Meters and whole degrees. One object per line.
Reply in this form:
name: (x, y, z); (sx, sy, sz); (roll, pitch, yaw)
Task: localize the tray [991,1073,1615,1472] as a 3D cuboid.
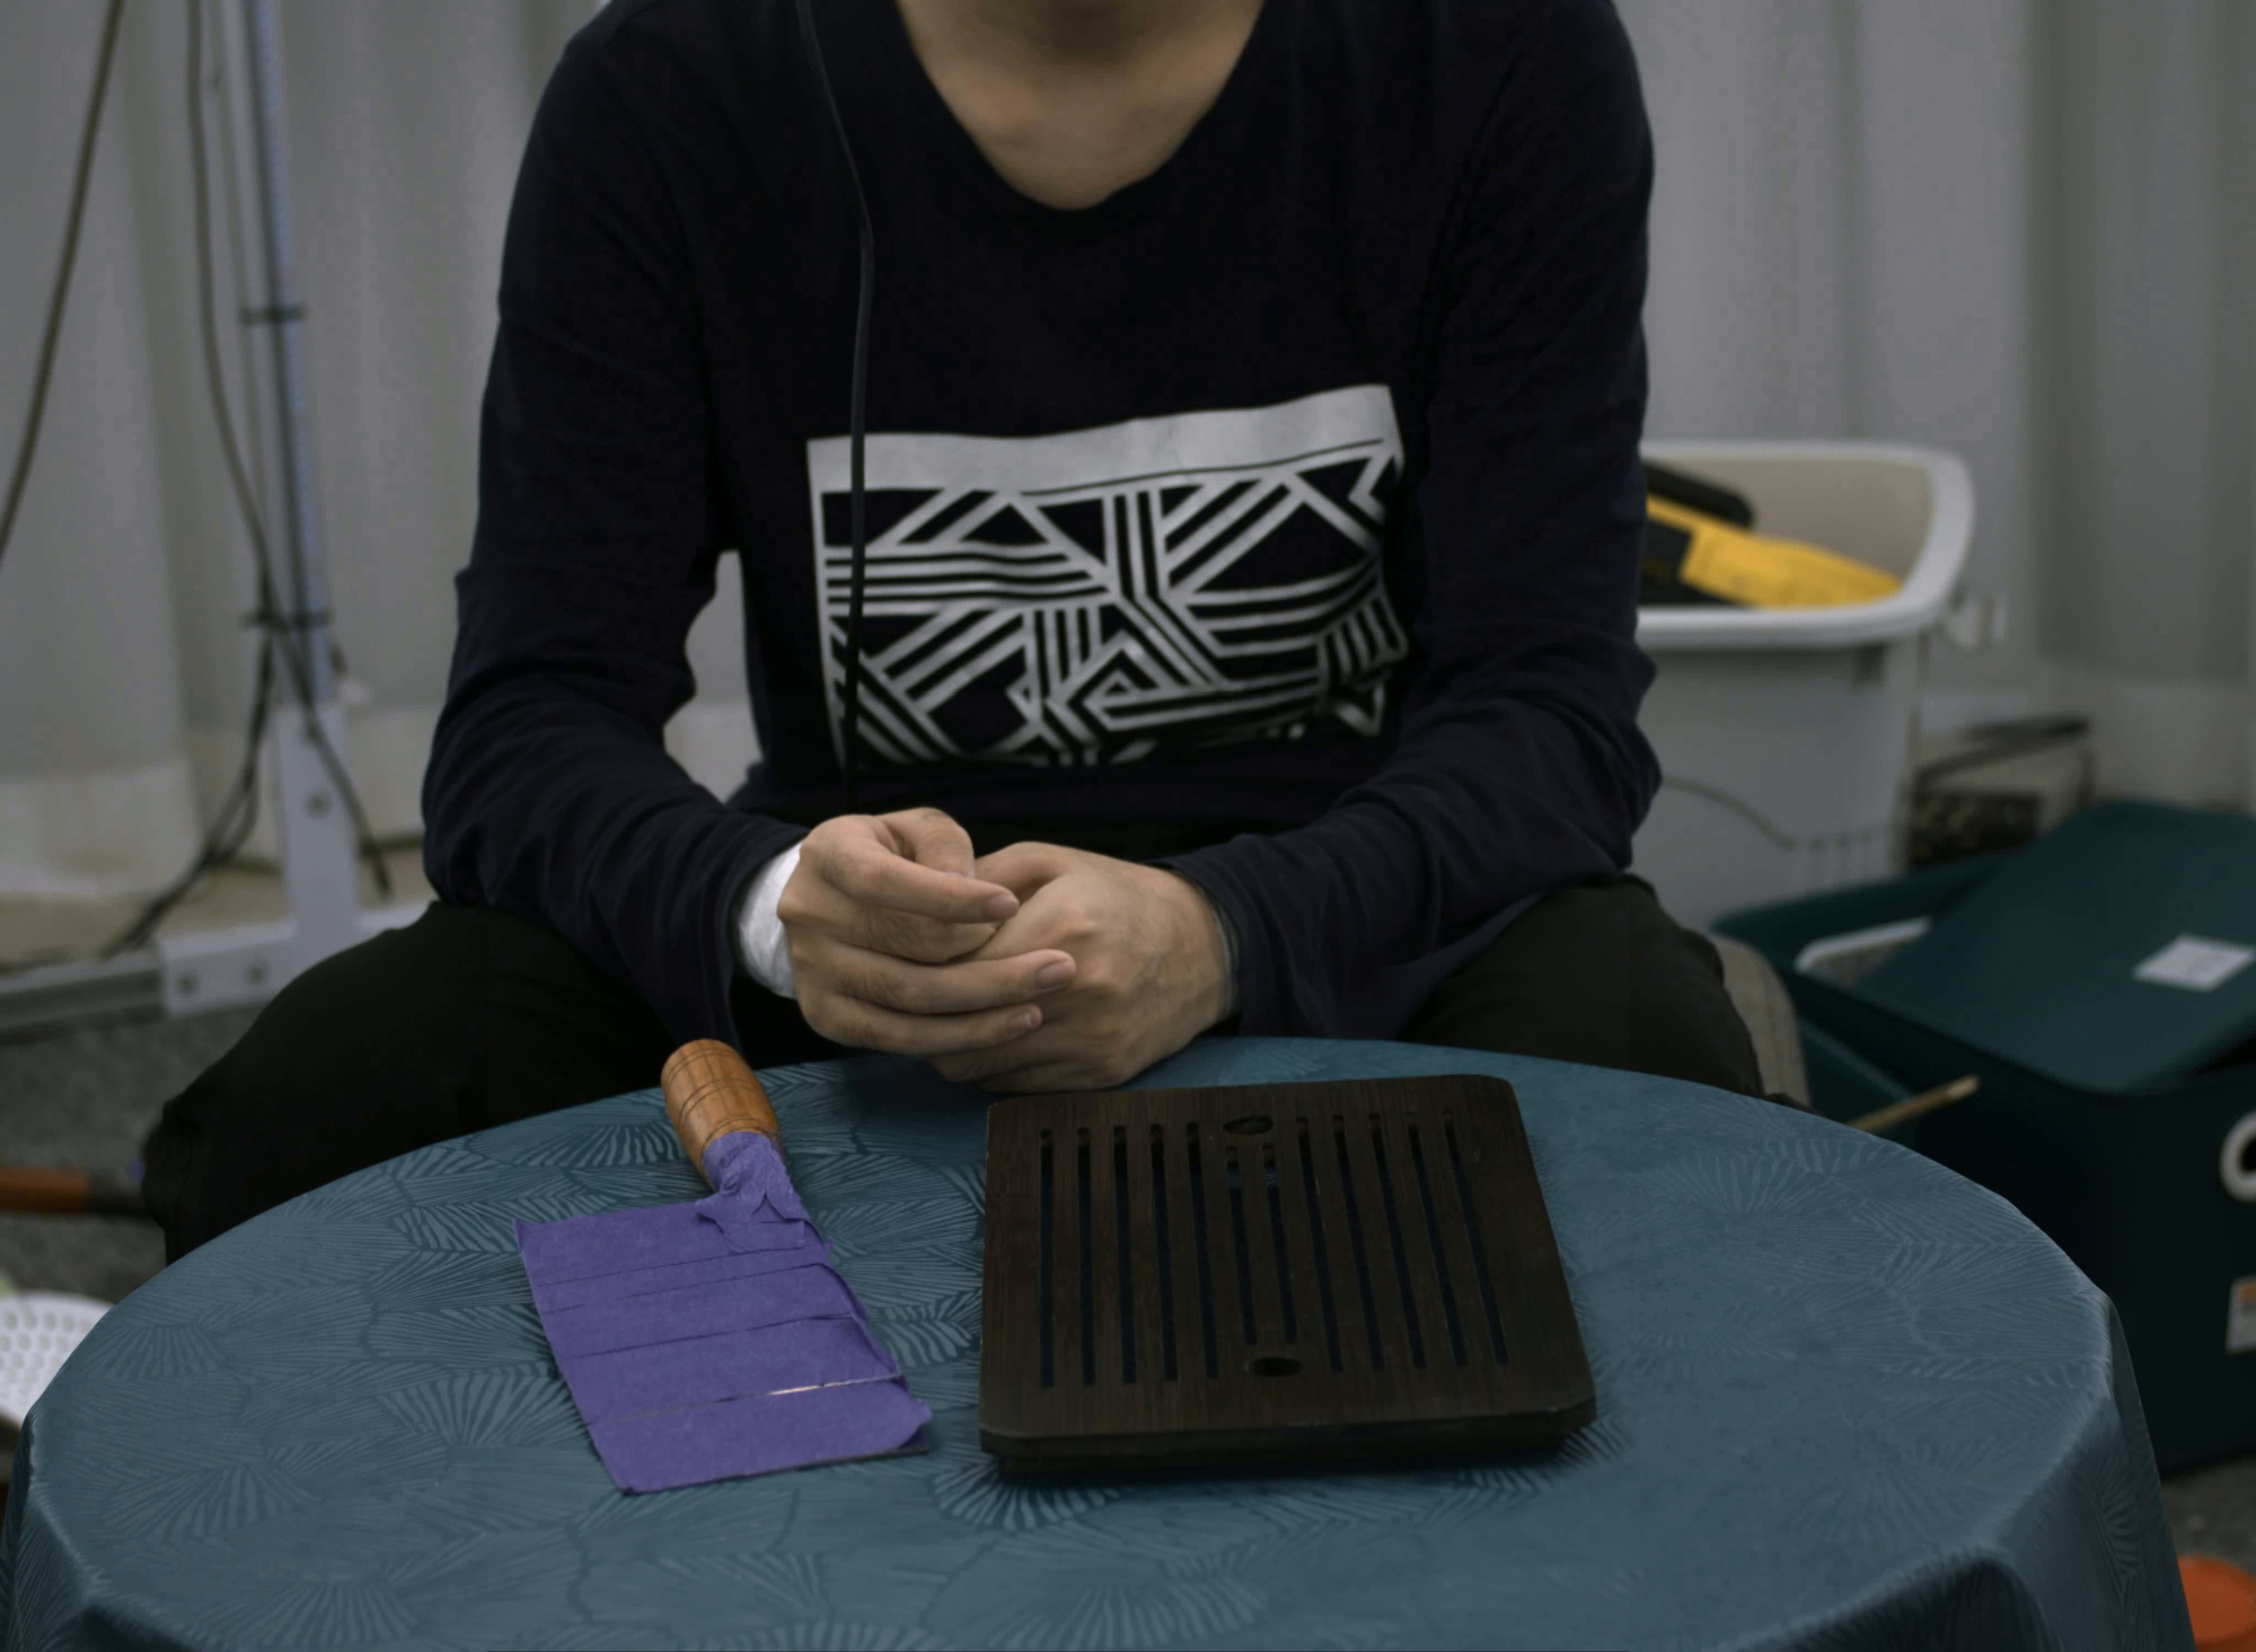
tray: (0.045, 0.129, 1.618); (0.169, 0.018, 0.308); (-3, 14, 0)

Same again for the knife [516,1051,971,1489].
knife: (-0.132, 0.129, 1.638); (0.103, 0.032, 0.318); (-6, 16, -14)
